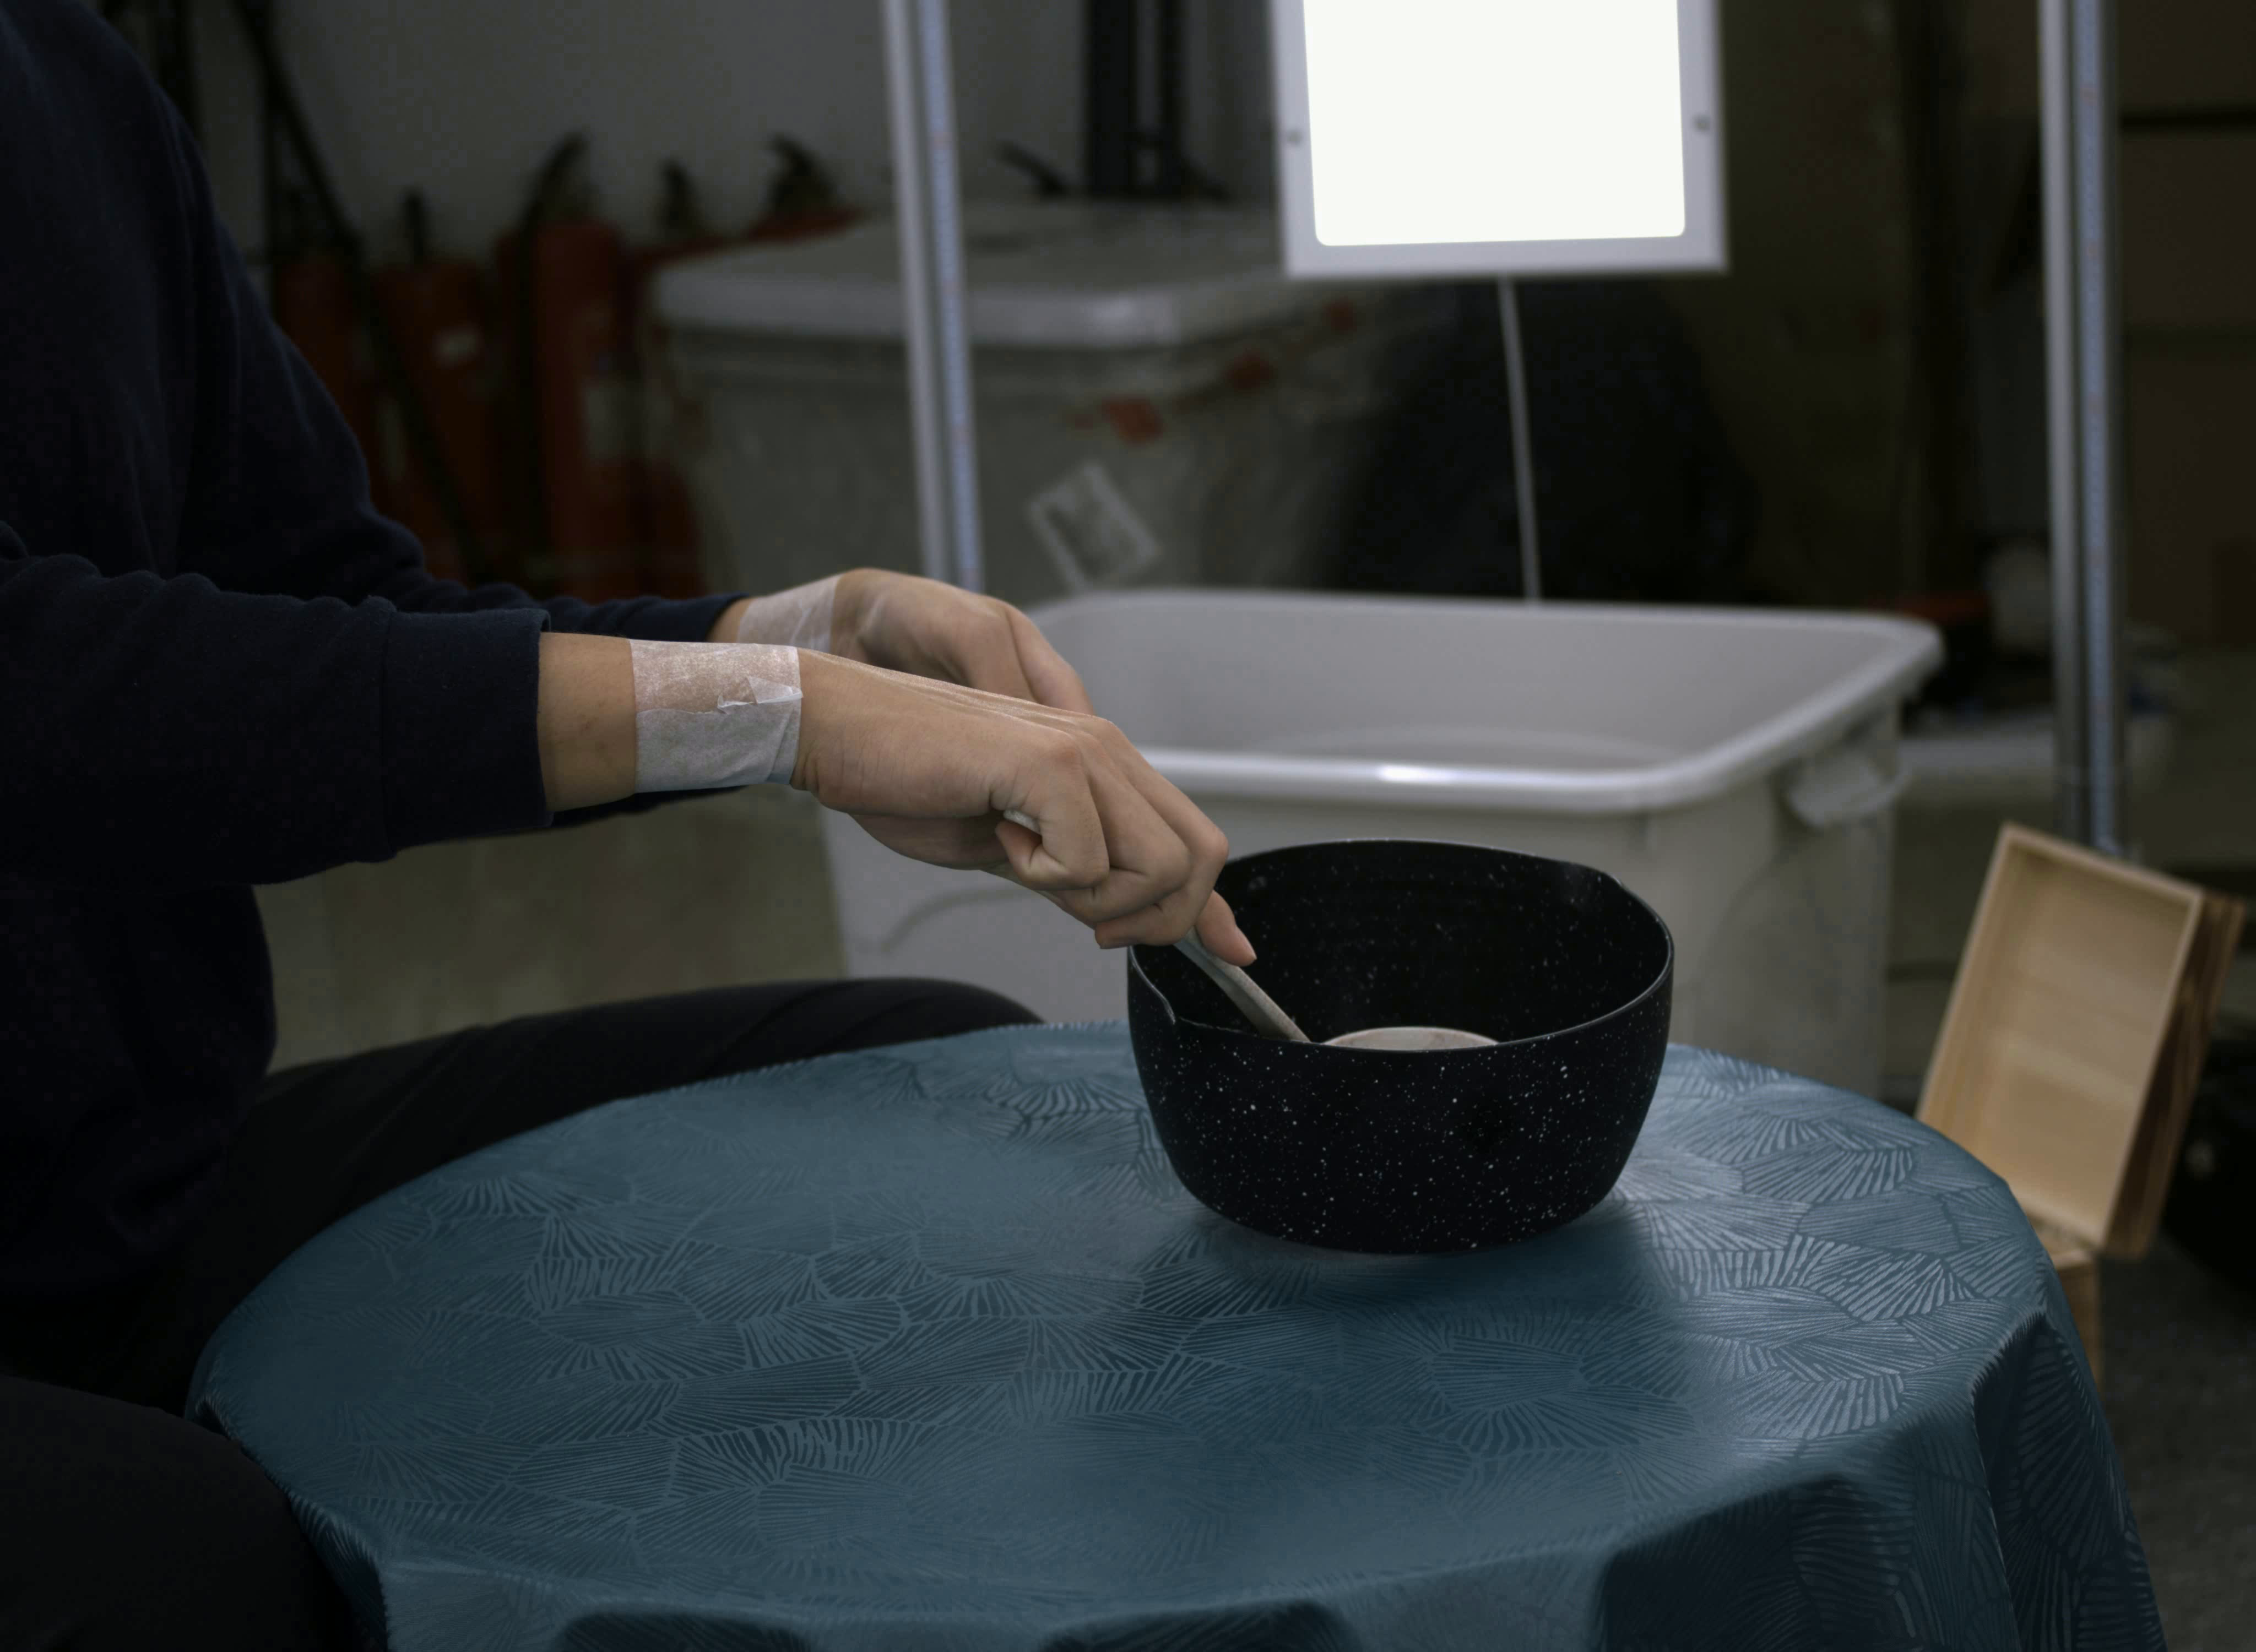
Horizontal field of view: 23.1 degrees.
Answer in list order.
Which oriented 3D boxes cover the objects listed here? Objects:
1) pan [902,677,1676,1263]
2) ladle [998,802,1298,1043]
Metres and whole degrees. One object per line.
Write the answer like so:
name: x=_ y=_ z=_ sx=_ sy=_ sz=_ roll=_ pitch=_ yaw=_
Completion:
pan: x=0.037 y=0.044 z=1.904 sx=0.202 sy=0.109 sz=0.349 roll=-20 pitch=30 yaw=-38
ladle: x=0.045 y=0.037 z=1.765 sx=0.091 sy=0.271 sz=0.069 roll=29 pitch=78 yaw=42
